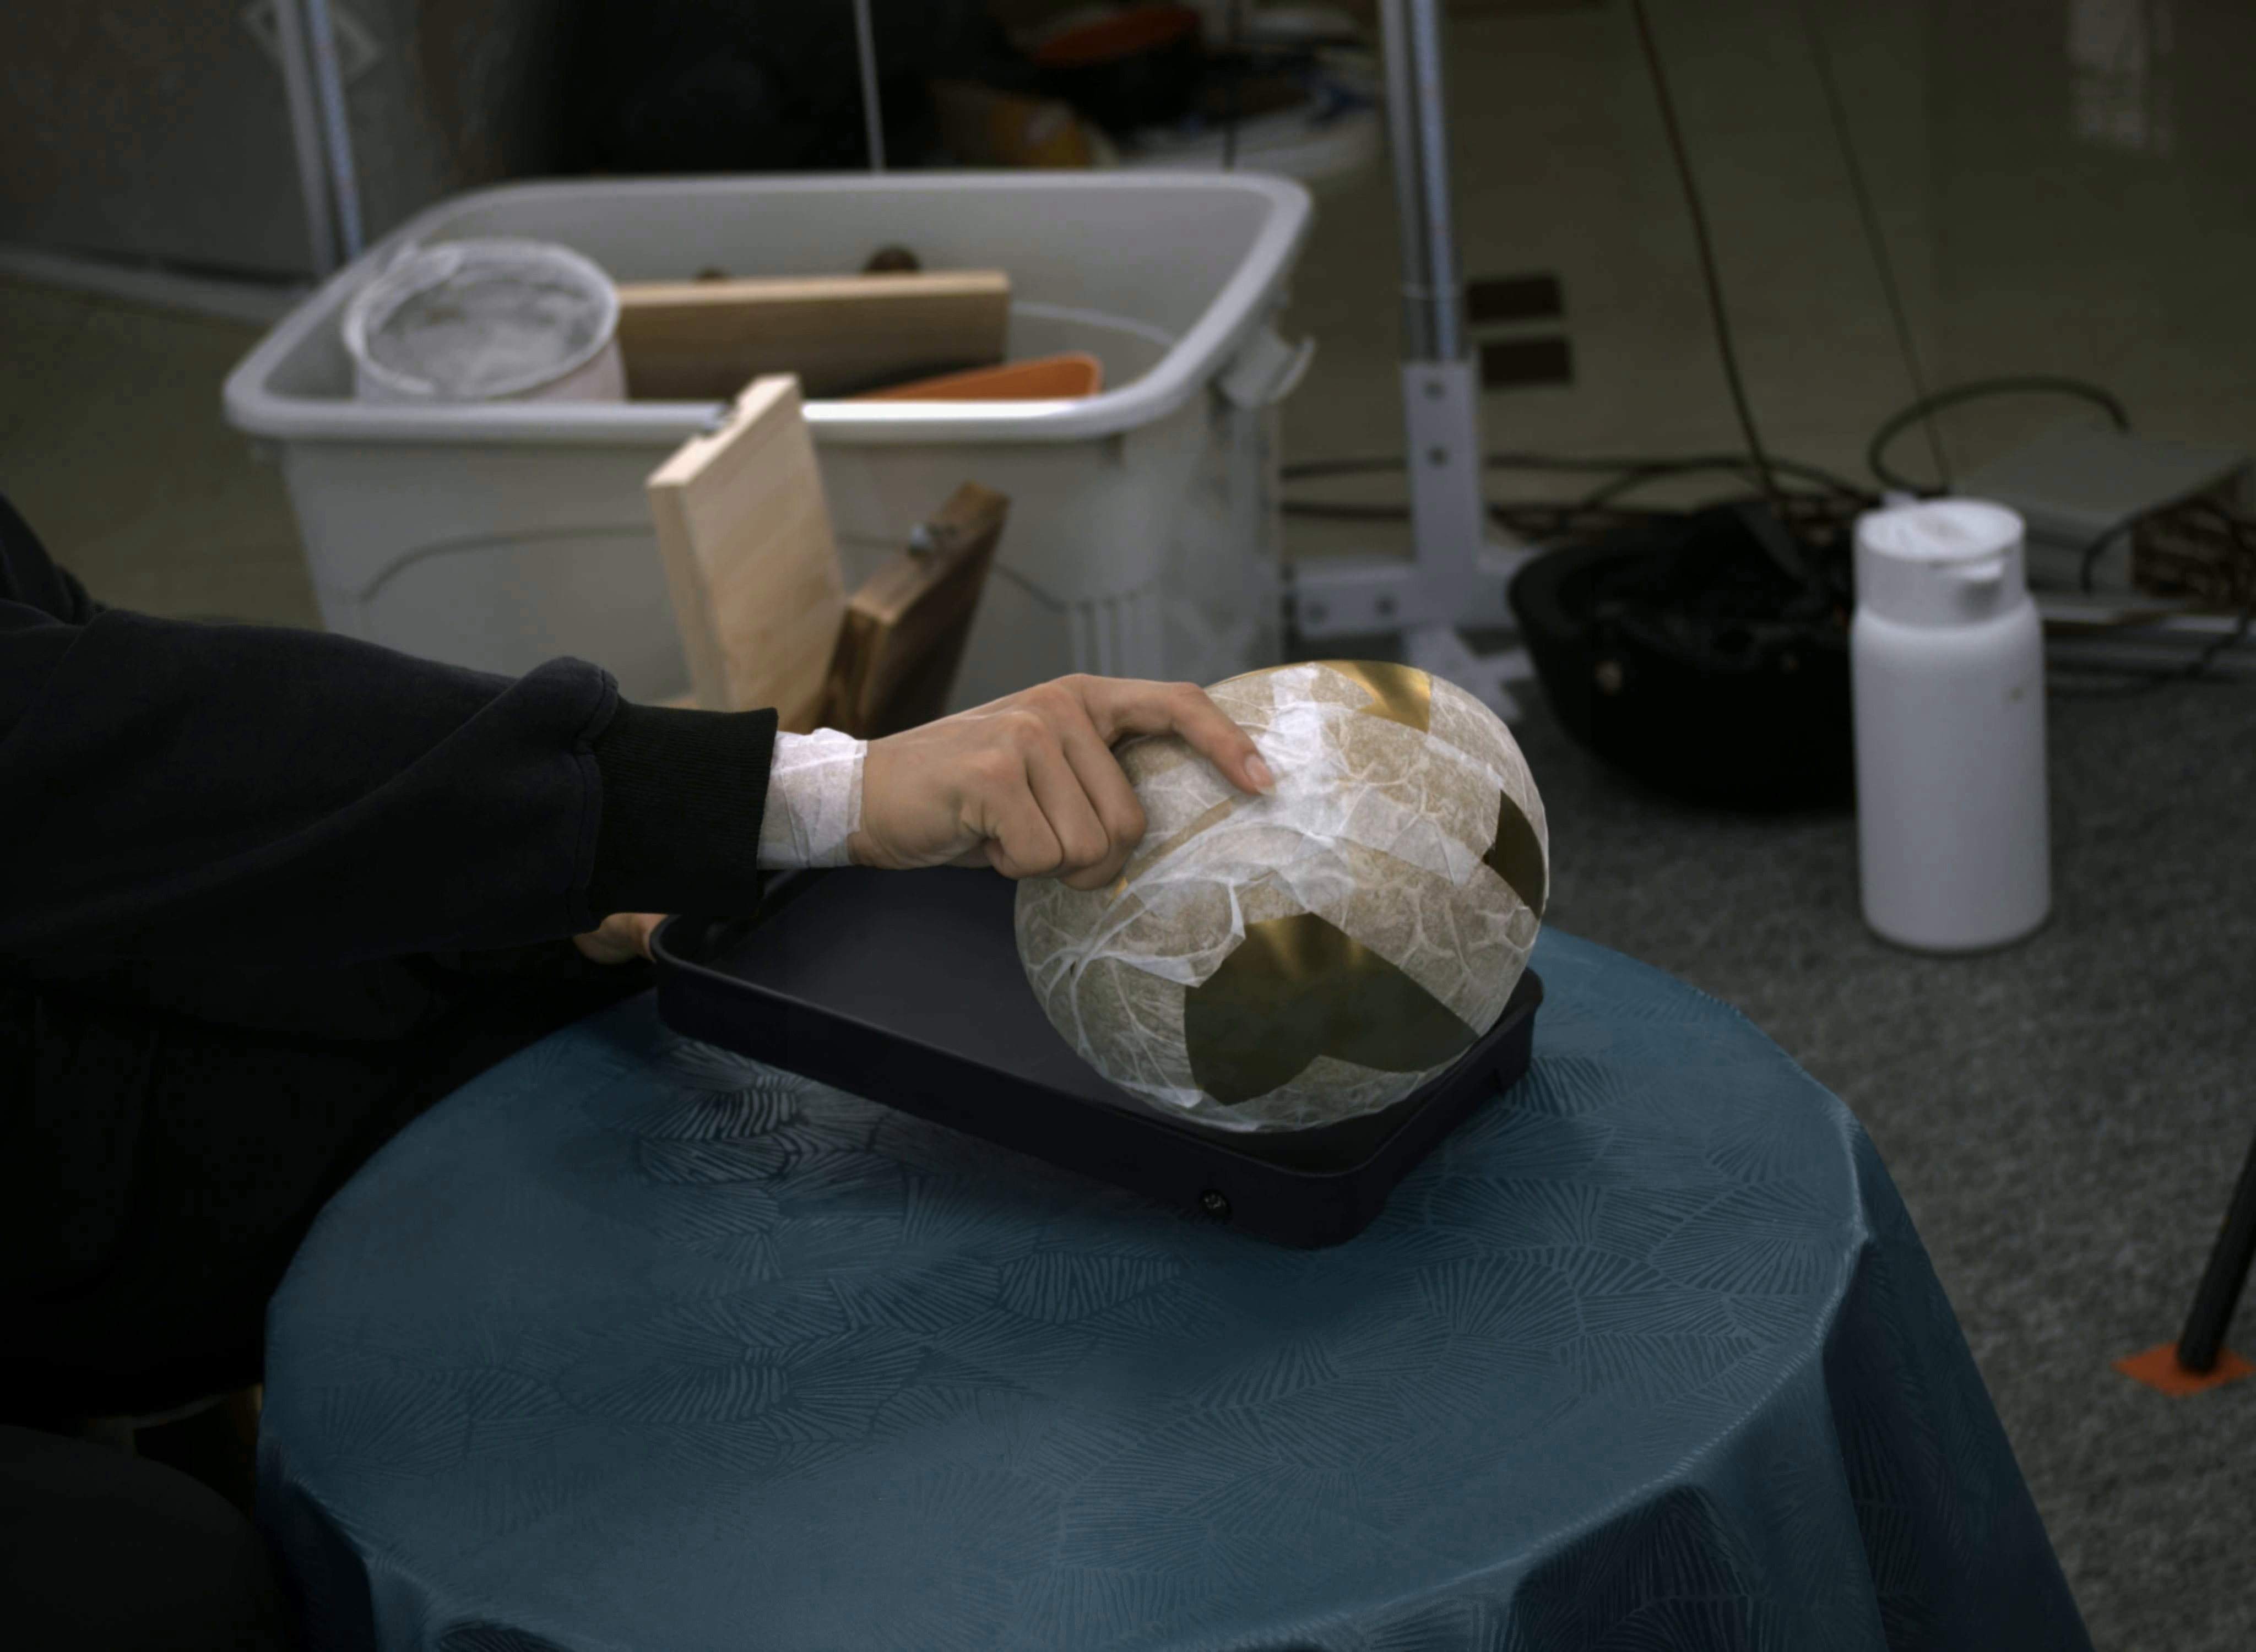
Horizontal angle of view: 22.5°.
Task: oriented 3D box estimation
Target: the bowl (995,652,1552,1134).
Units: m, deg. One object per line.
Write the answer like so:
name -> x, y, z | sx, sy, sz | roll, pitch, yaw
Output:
bowl -> 0.063, 0.046, 2.073 | 0.214, 0.219, 0.093 | -10, 46, -10

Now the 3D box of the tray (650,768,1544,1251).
tray -> -0.013, 0.067, 2.210 | 0.316, 0.037, 0.182 | 19, 33, 26
